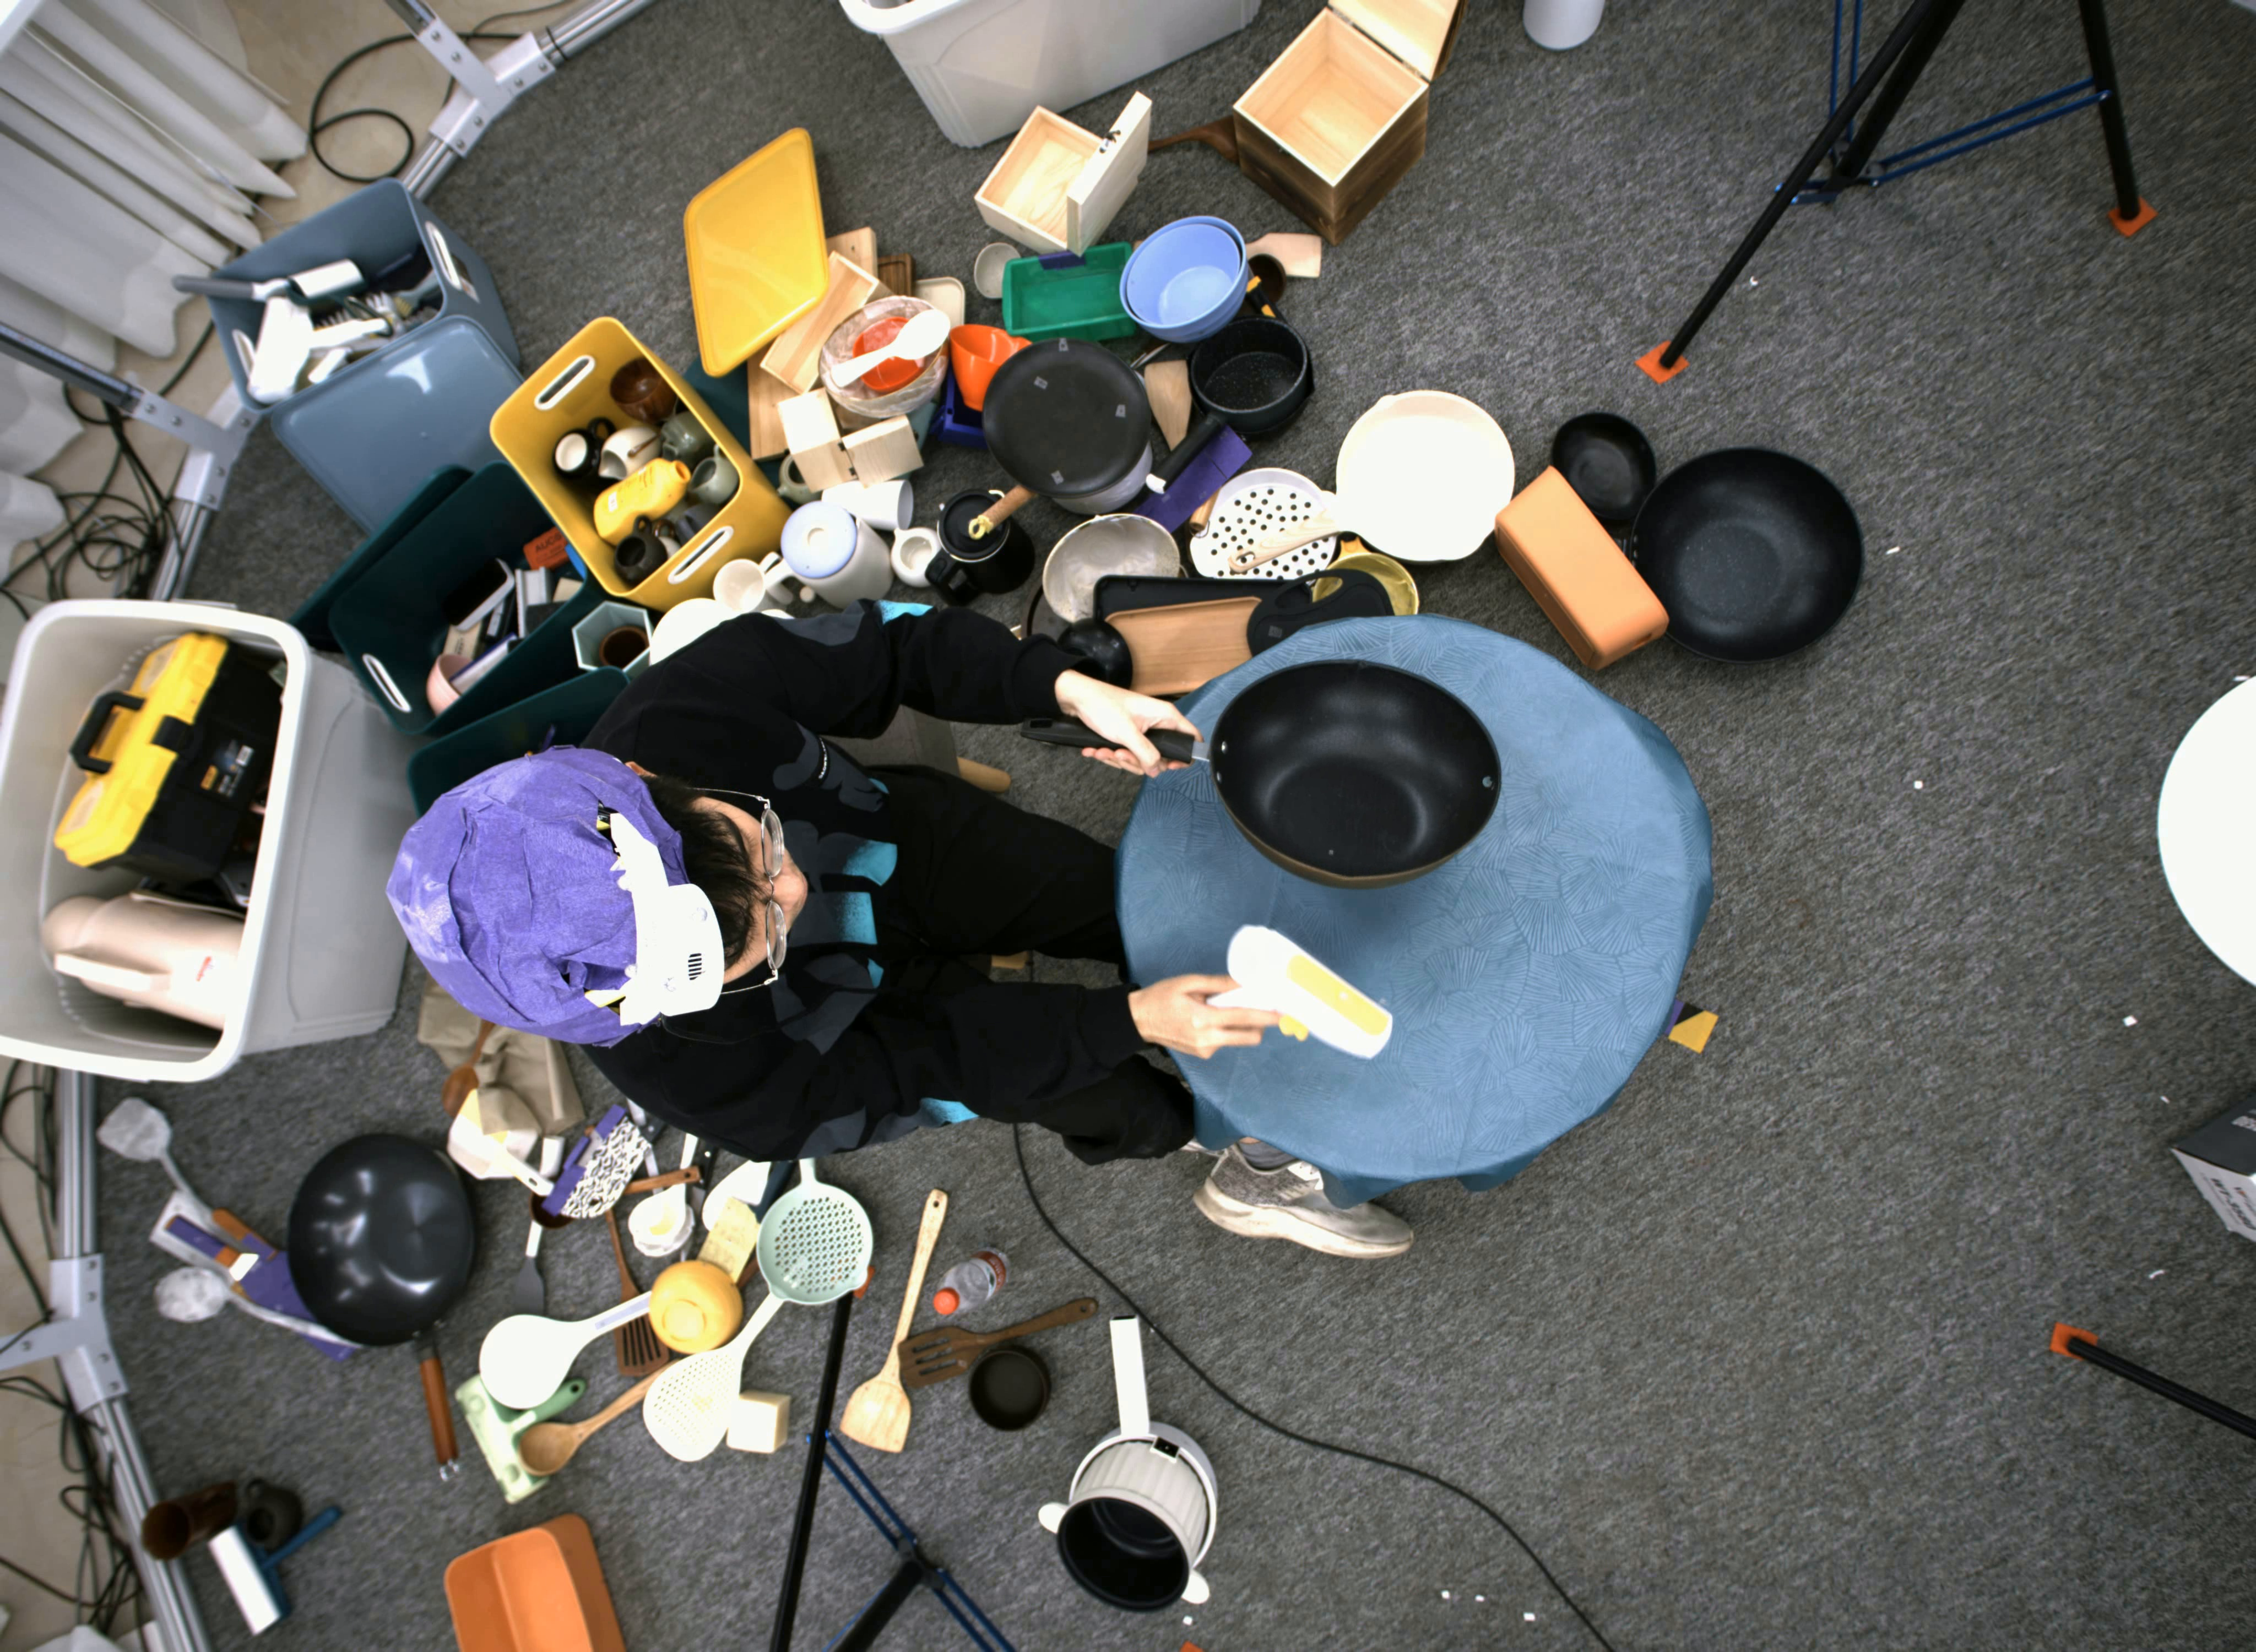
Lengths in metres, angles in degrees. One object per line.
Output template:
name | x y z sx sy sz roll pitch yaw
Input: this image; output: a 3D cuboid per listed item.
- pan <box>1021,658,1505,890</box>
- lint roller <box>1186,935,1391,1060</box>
pan | 0.126 -0.050 1.343 0.464 0.089 0.280 6 52 7
lint roller | 0.131 0.170 1.329 0.194 0.194 0.073 29 70 -31
